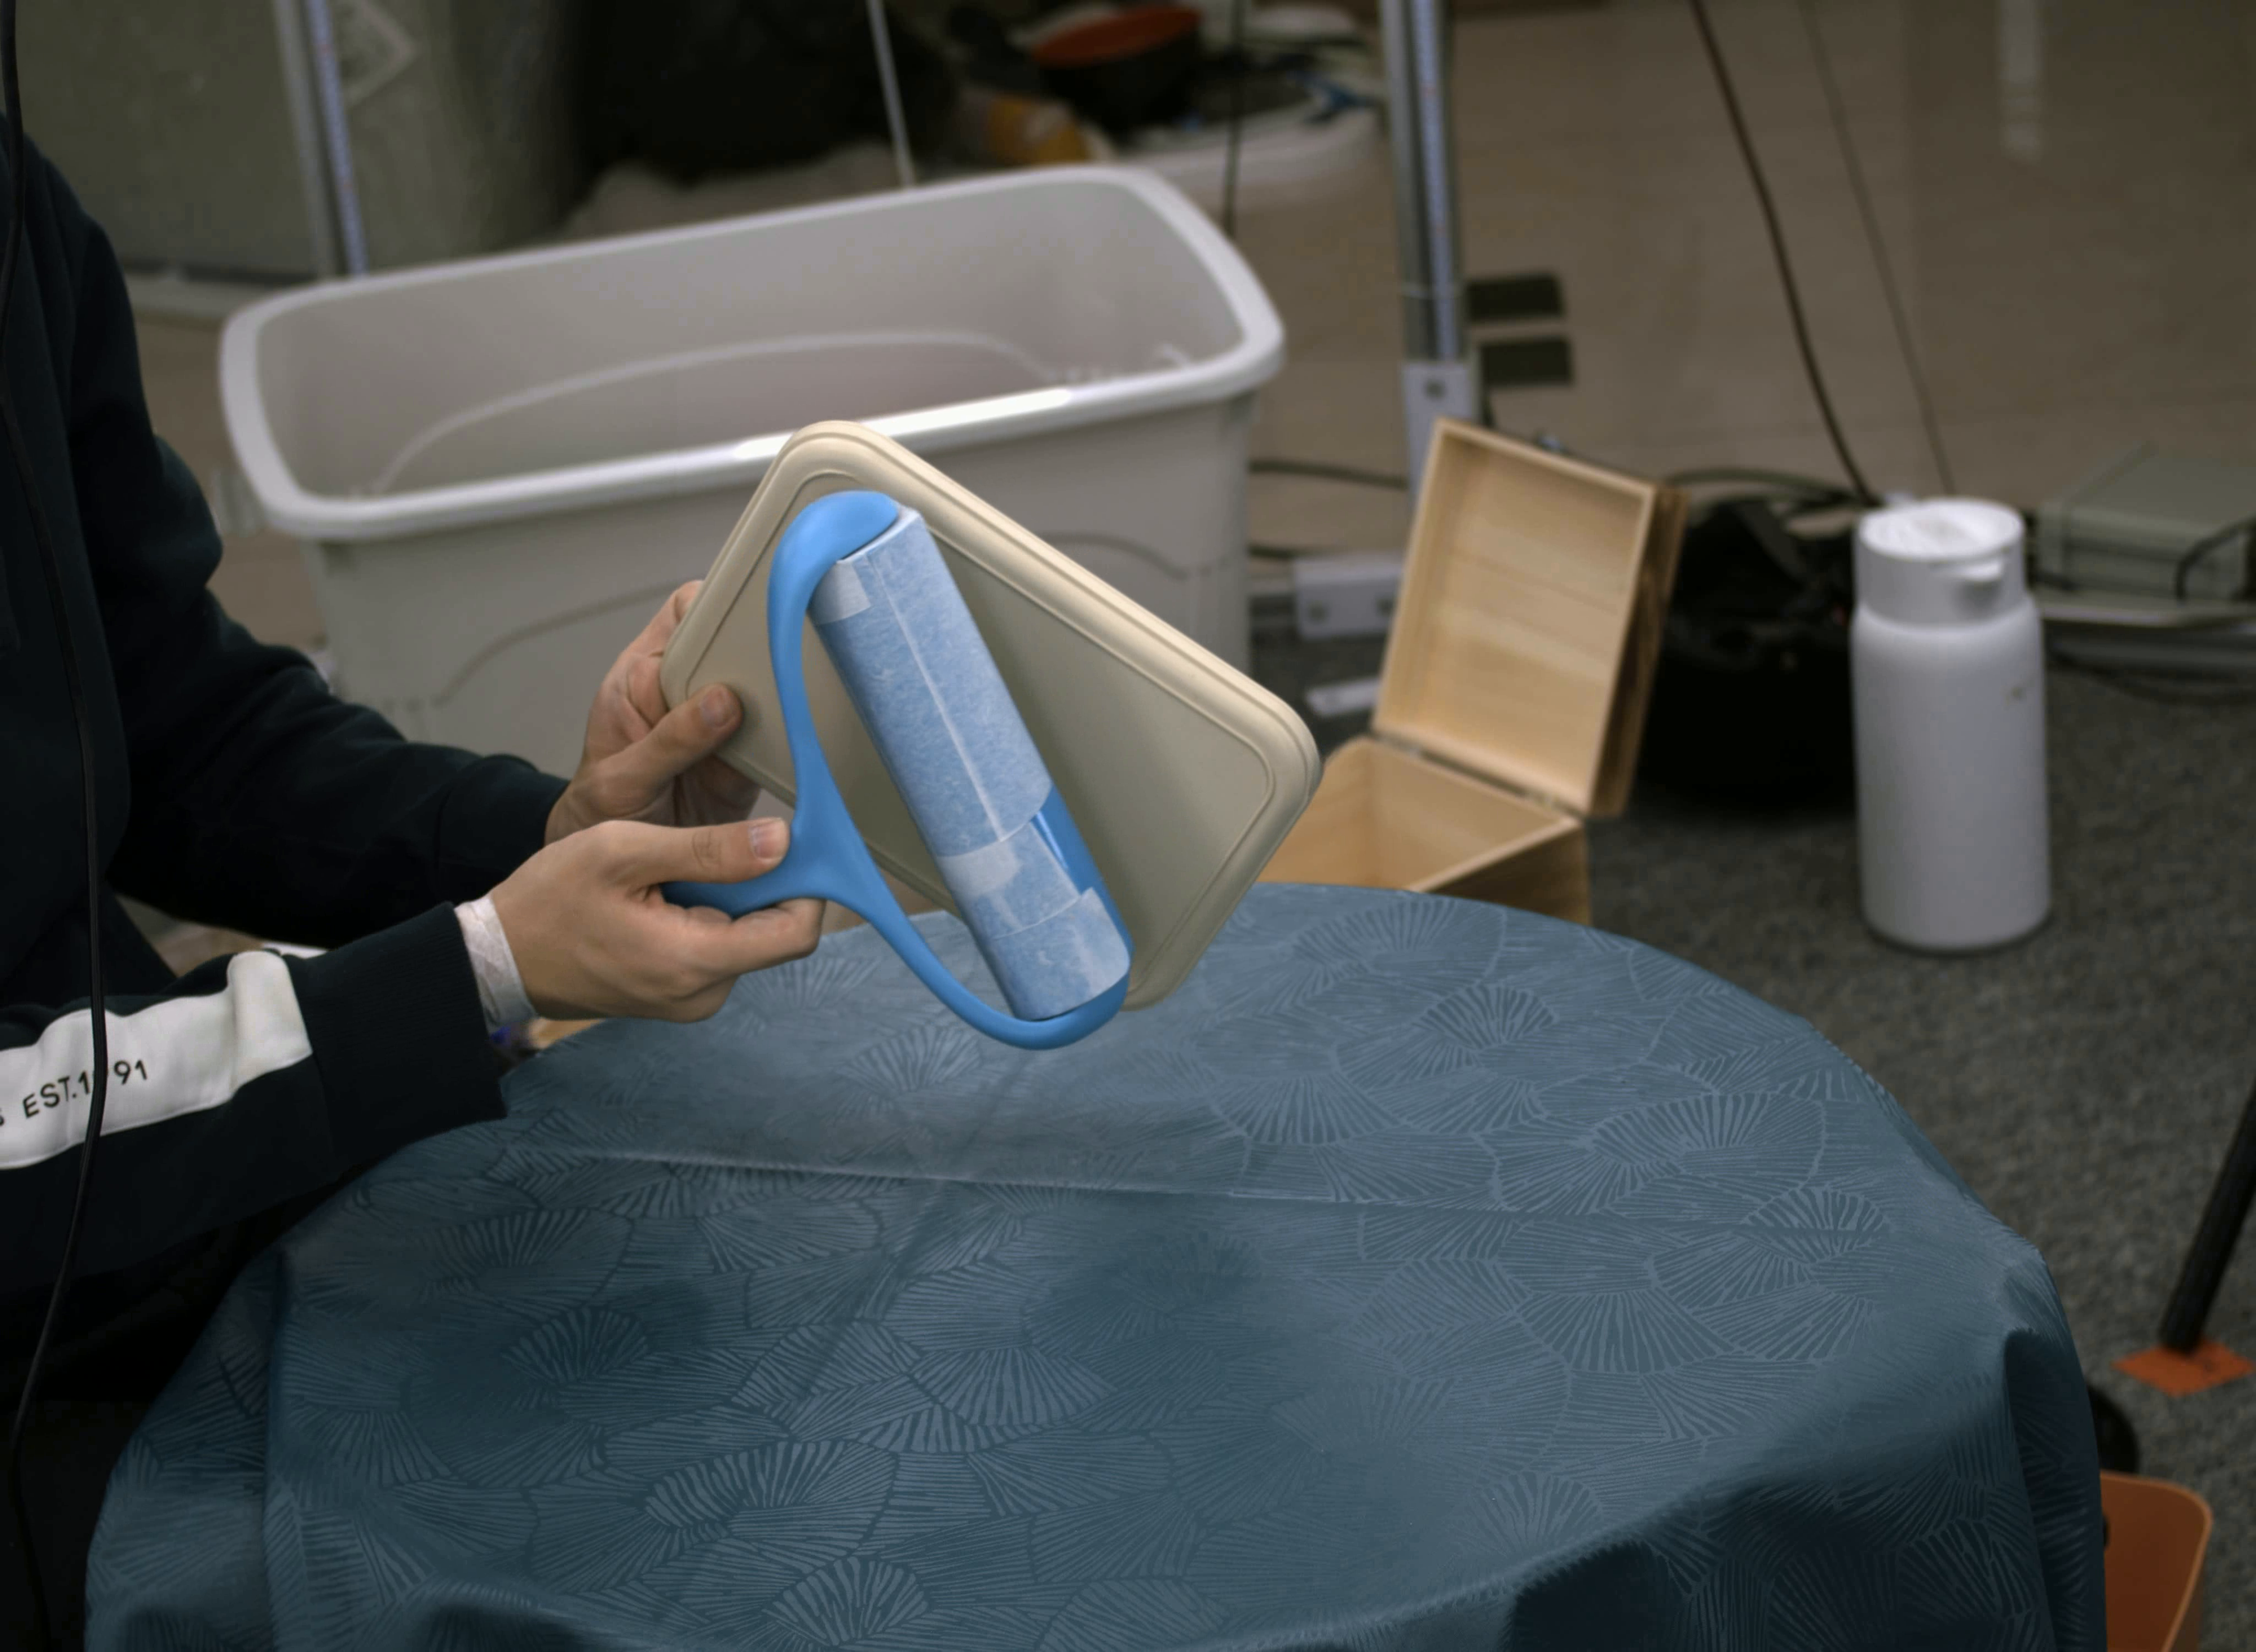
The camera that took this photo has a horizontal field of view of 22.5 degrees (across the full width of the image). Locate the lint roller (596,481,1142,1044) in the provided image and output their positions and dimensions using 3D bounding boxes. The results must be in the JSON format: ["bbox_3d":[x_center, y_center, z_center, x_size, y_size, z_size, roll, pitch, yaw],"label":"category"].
[{"bbox_3d":[-0.113,0.004,2.085,0.180,0.231,0.067,-29,20,3],"label":"lint roller"}]

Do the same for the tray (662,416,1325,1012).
[{"bbox_3d":[-0.055,-0.038,2.139,0.239,0.174,0.017,33,38,-1],"label":"tray"}]
